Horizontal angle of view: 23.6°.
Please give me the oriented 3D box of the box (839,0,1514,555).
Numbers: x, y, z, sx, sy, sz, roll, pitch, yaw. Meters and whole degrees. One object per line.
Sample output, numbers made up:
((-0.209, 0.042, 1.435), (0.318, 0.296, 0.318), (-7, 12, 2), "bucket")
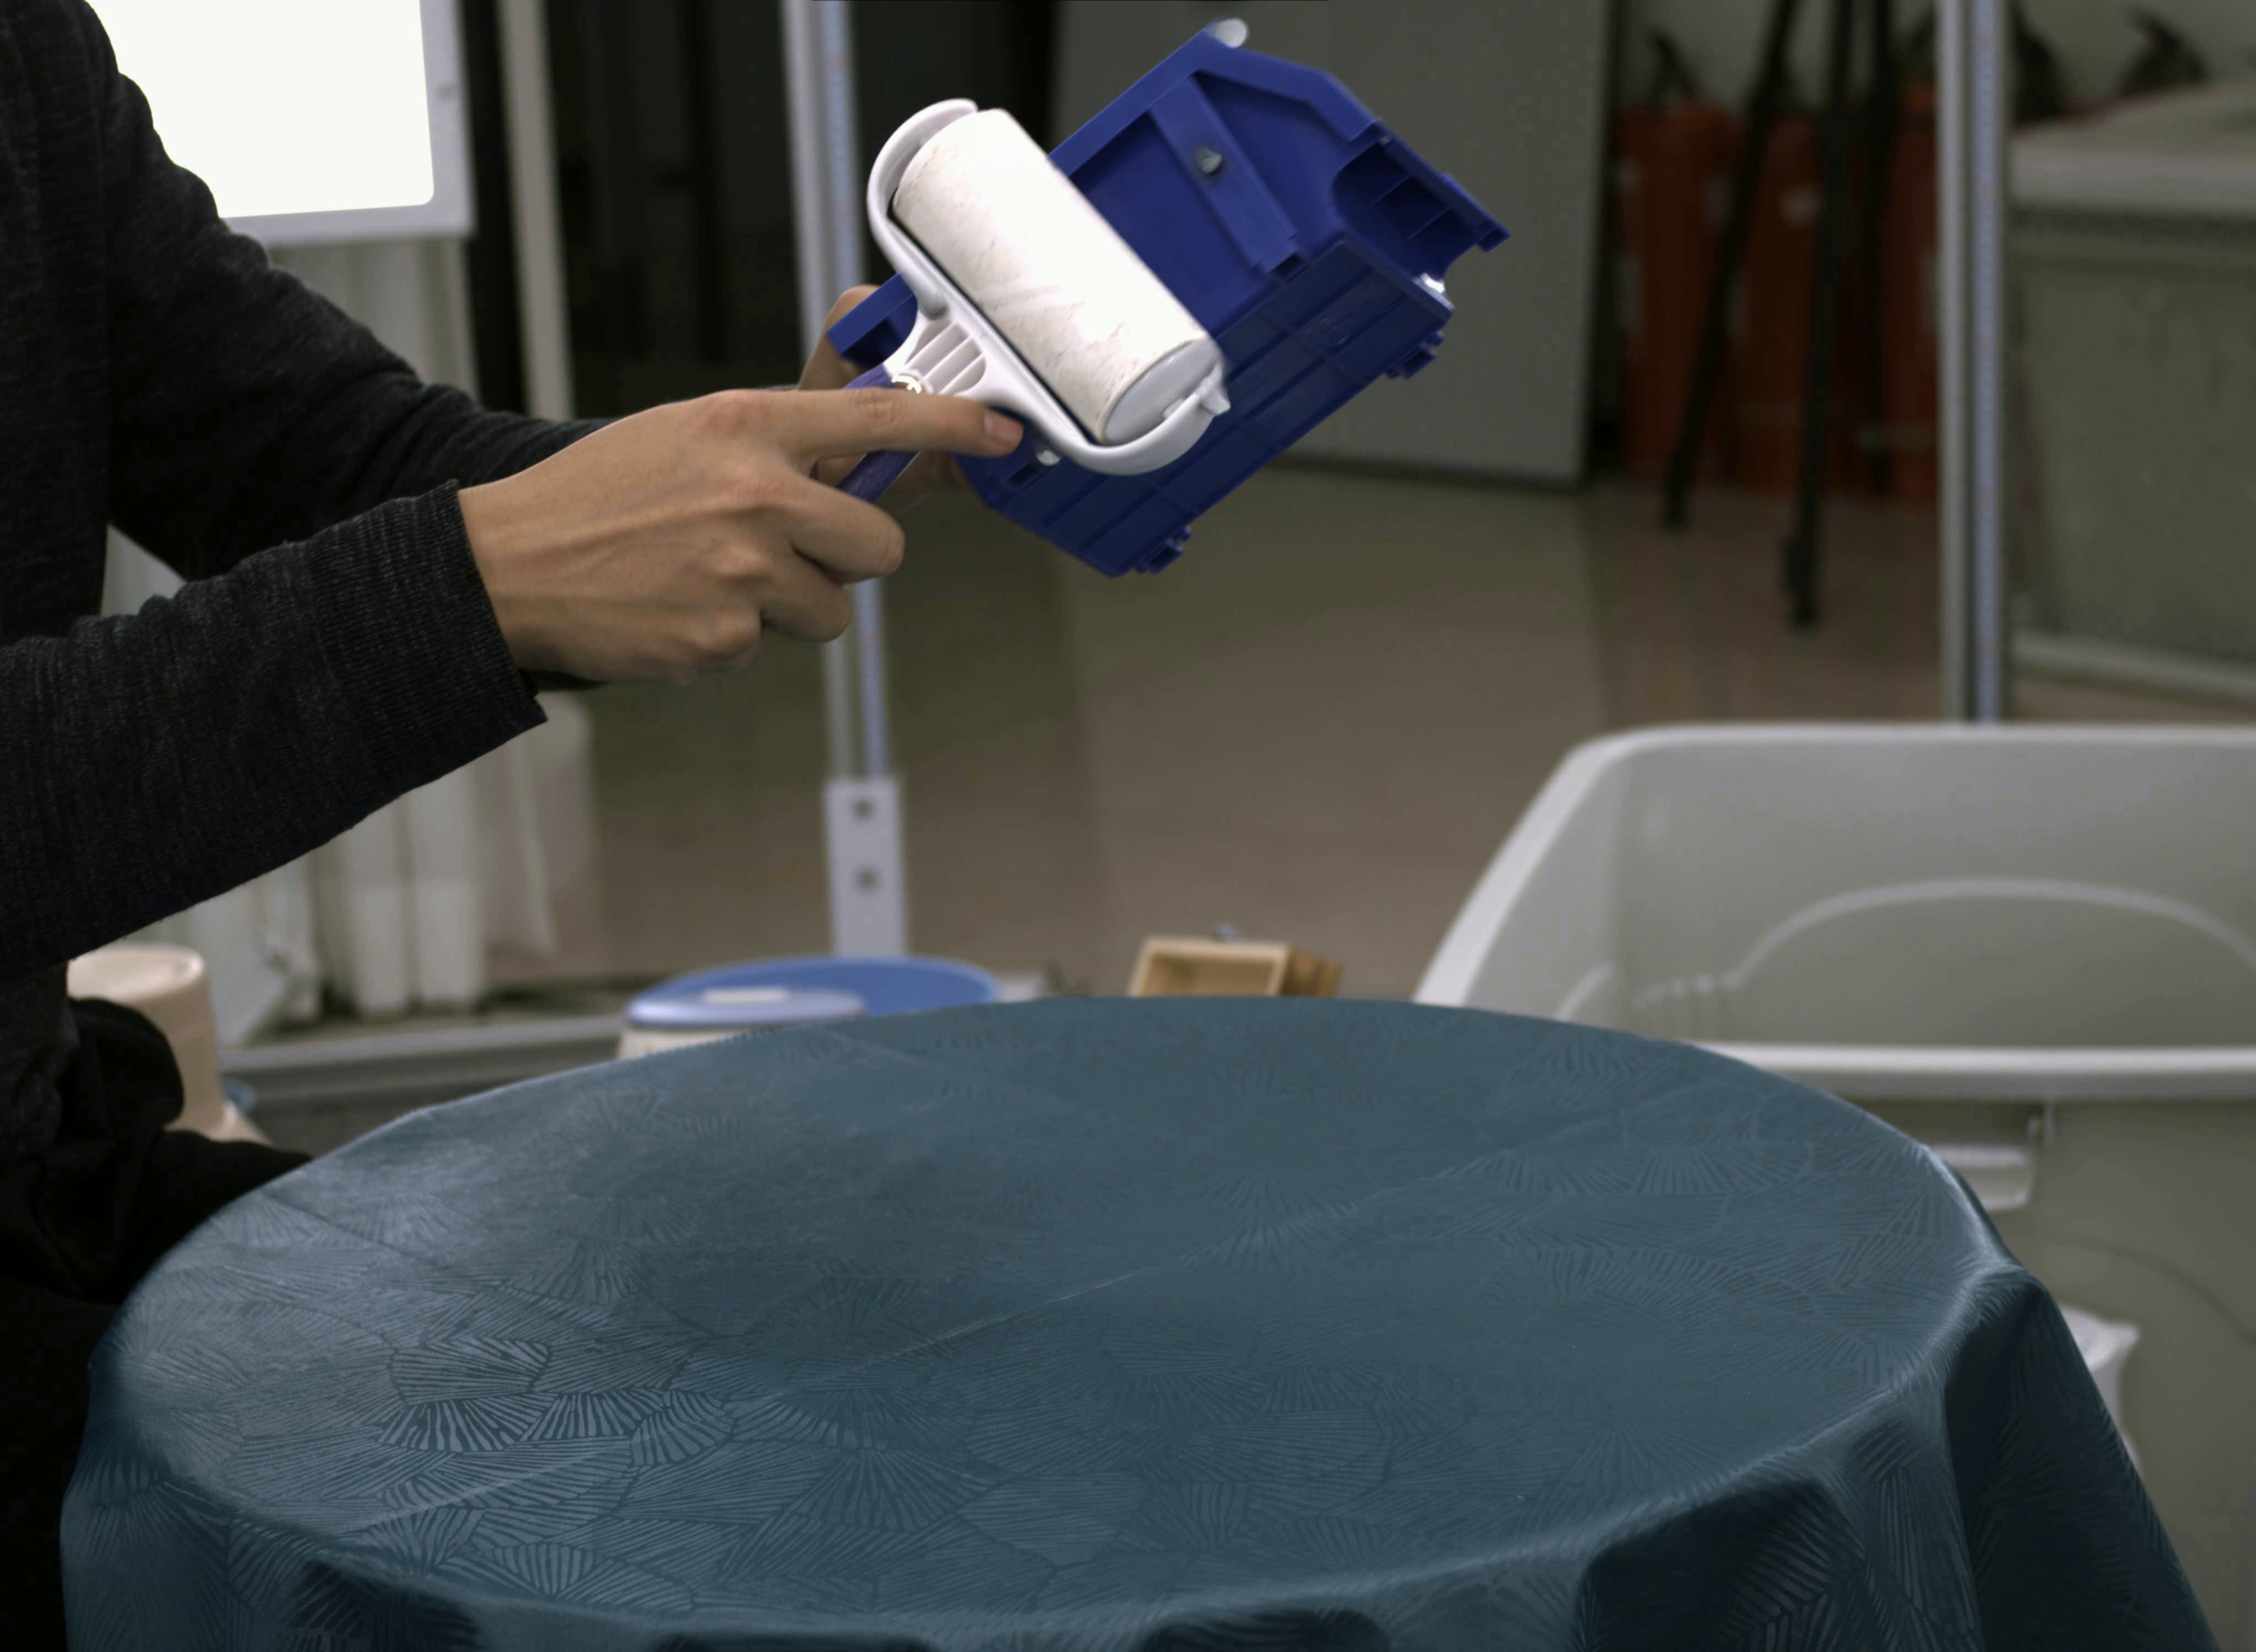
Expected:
((0.022, -0.173, 1.680), (0.180, 0.083, 0.122), (-42, -26, 14), "box")

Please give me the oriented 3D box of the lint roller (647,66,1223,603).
((-0.073, -0.134, 1.603), (0.179, 0.134, 0.050), (-37, -17, -11), "lint roller")
